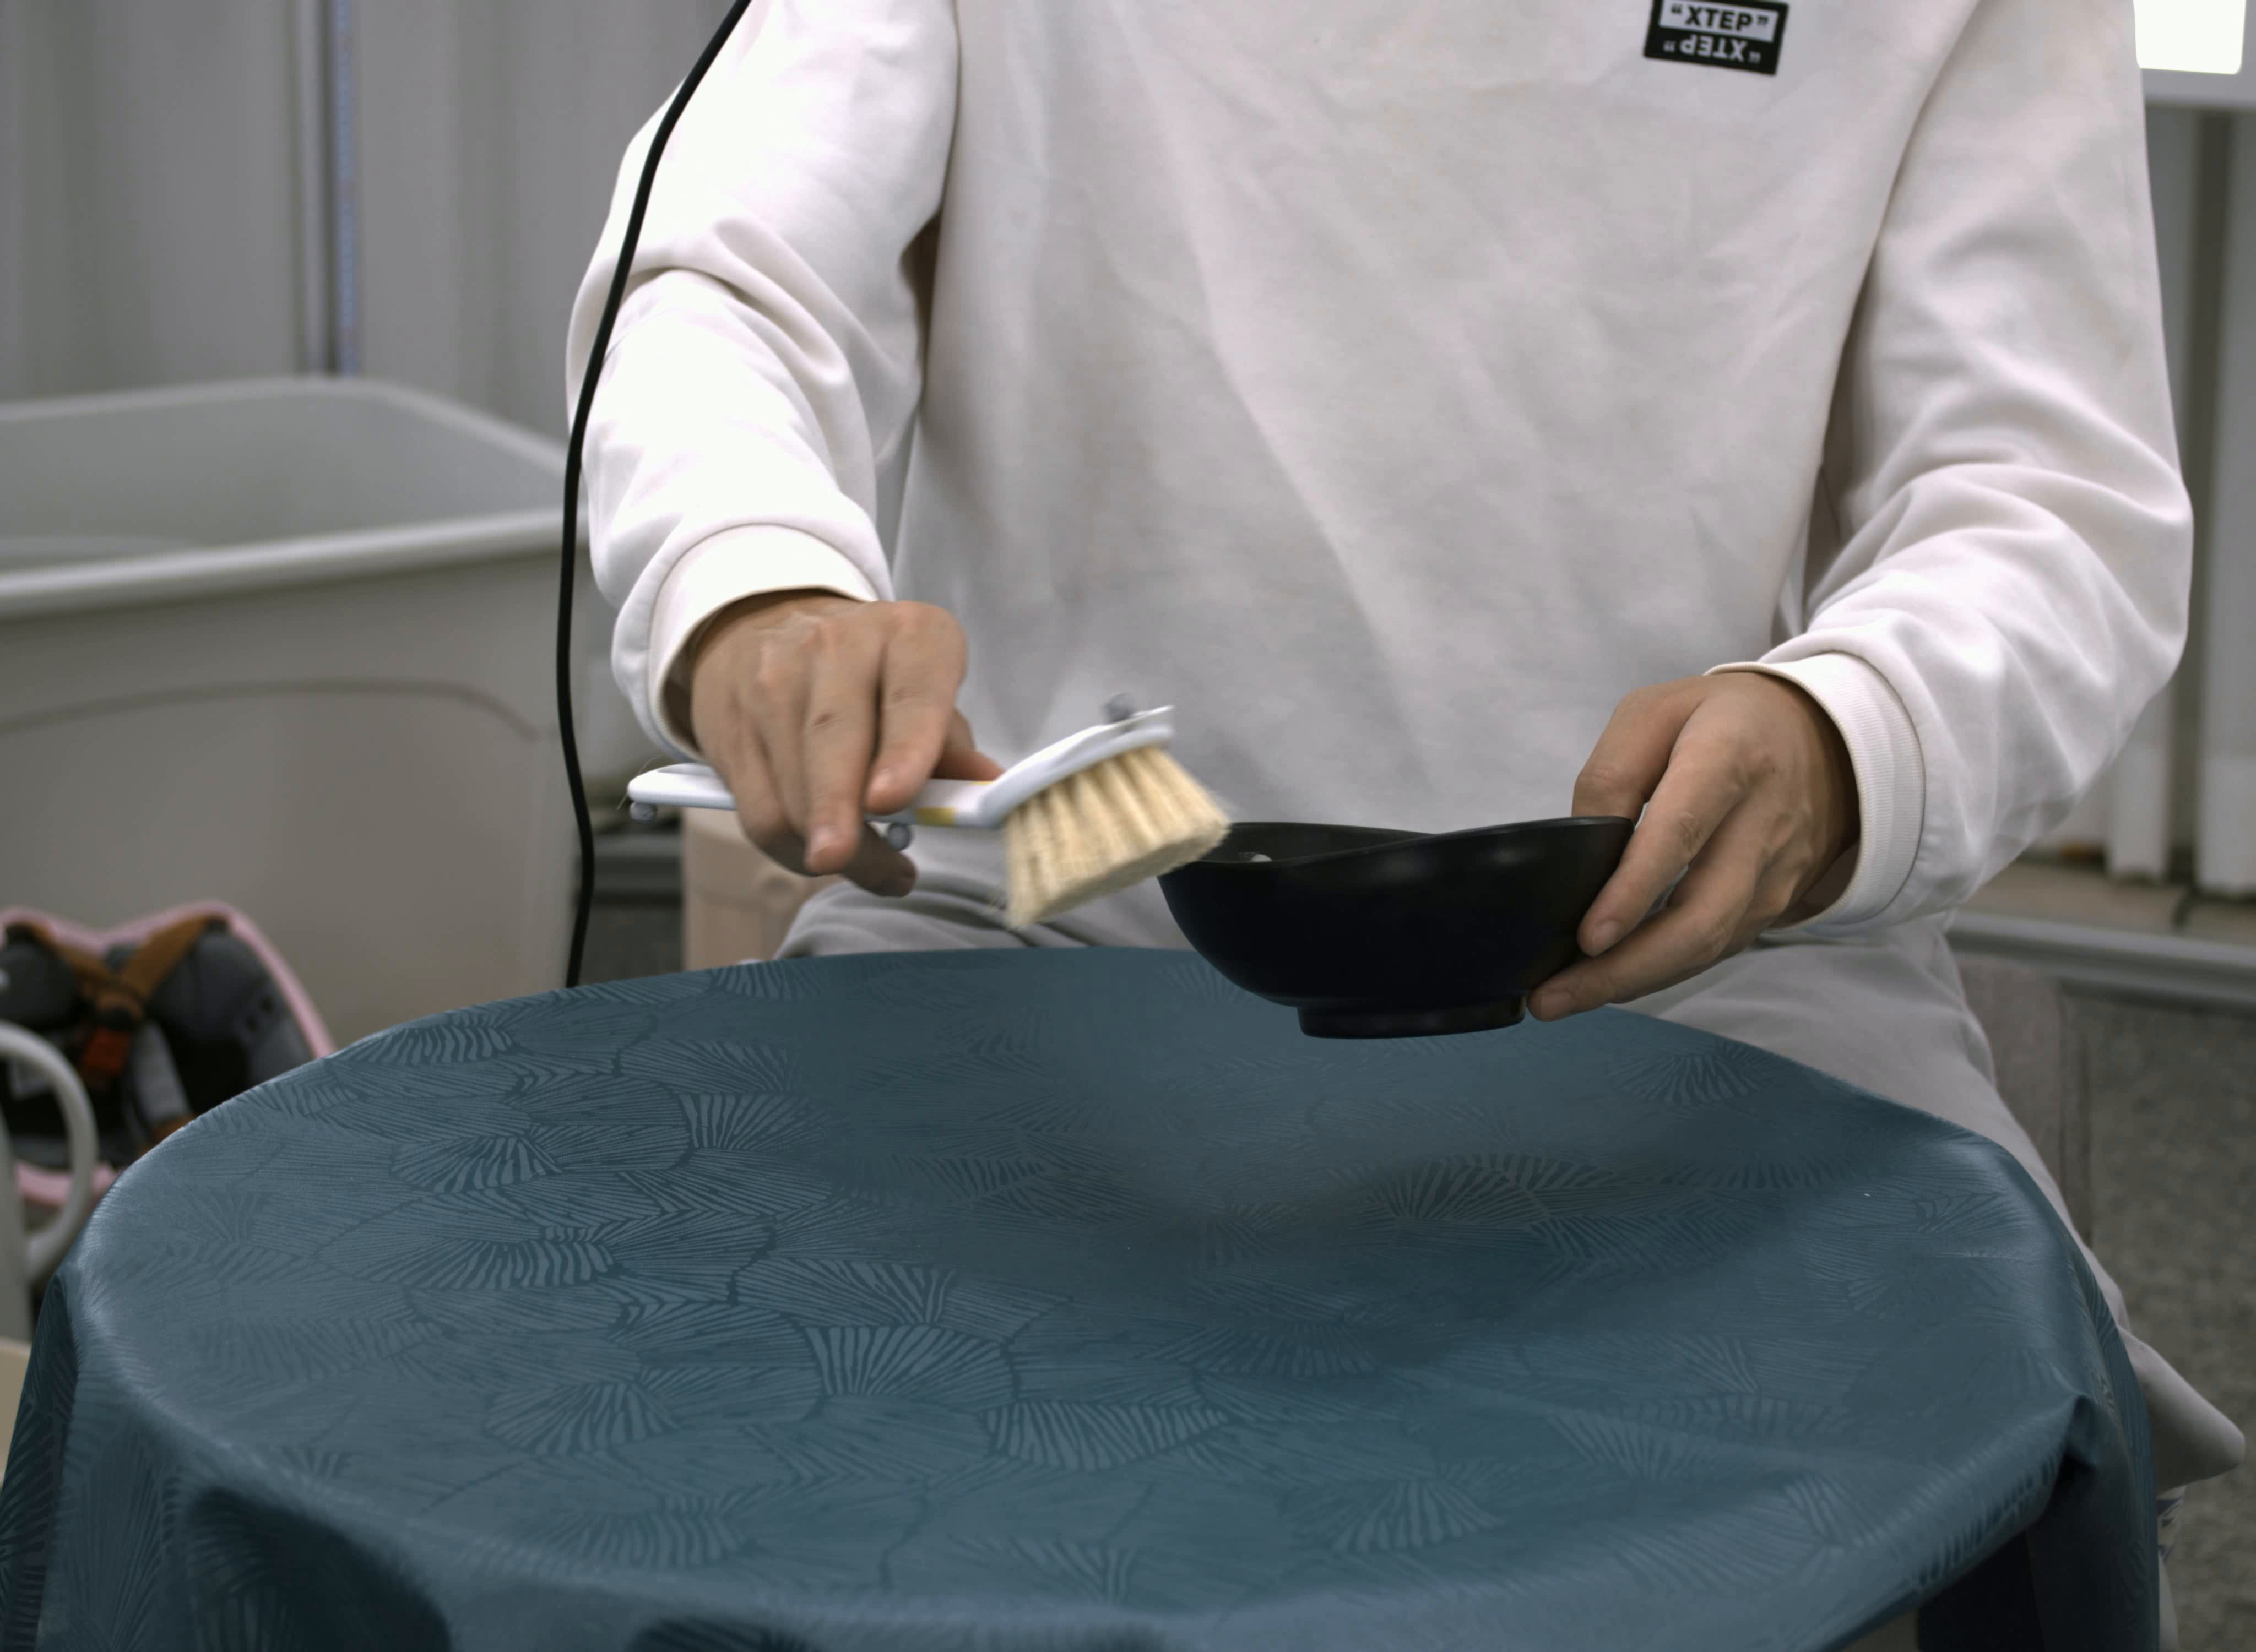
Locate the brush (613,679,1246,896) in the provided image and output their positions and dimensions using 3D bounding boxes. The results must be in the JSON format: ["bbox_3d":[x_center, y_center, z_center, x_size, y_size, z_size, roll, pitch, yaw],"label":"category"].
[{"bbox_3d":[-0.066,-0.002,1.582,0.069,0.056,0.264,-9,1,-42],"label":"brush"}]

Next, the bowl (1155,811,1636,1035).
[{"bbox_3d":[0.082,0.030,1.602,0.136,0.067,0.171,-1,1,36],"label":"bowl"}]
